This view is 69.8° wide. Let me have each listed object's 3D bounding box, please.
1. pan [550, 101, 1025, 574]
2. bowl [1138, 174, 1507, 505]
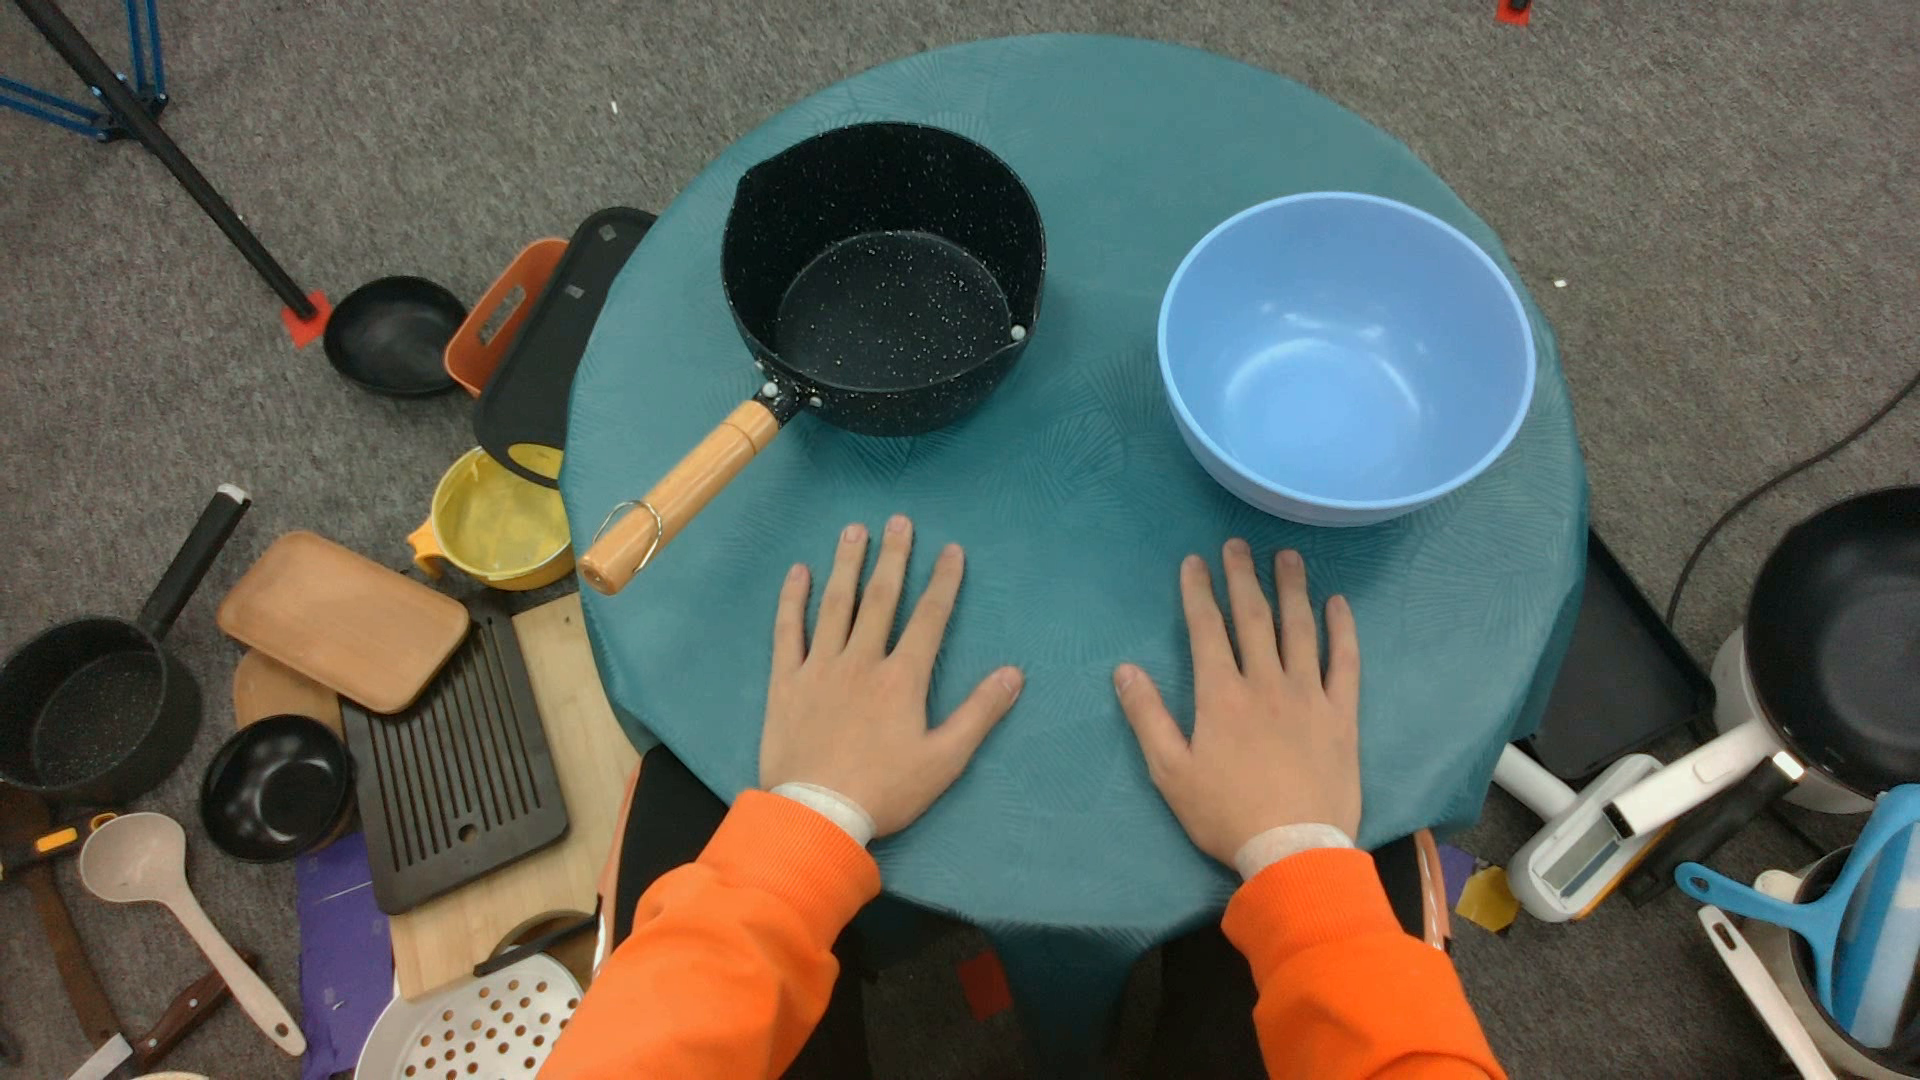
[{"bbox_3d":[-0.098,-0.099,0.771,0.207,0.108,0.344,30,68,12],"label":"pan"},{"bbox_3d":[0.193,-0.098,0.774,0.196,0.095,0.197,0,65,0],"label":"bowl"}]
